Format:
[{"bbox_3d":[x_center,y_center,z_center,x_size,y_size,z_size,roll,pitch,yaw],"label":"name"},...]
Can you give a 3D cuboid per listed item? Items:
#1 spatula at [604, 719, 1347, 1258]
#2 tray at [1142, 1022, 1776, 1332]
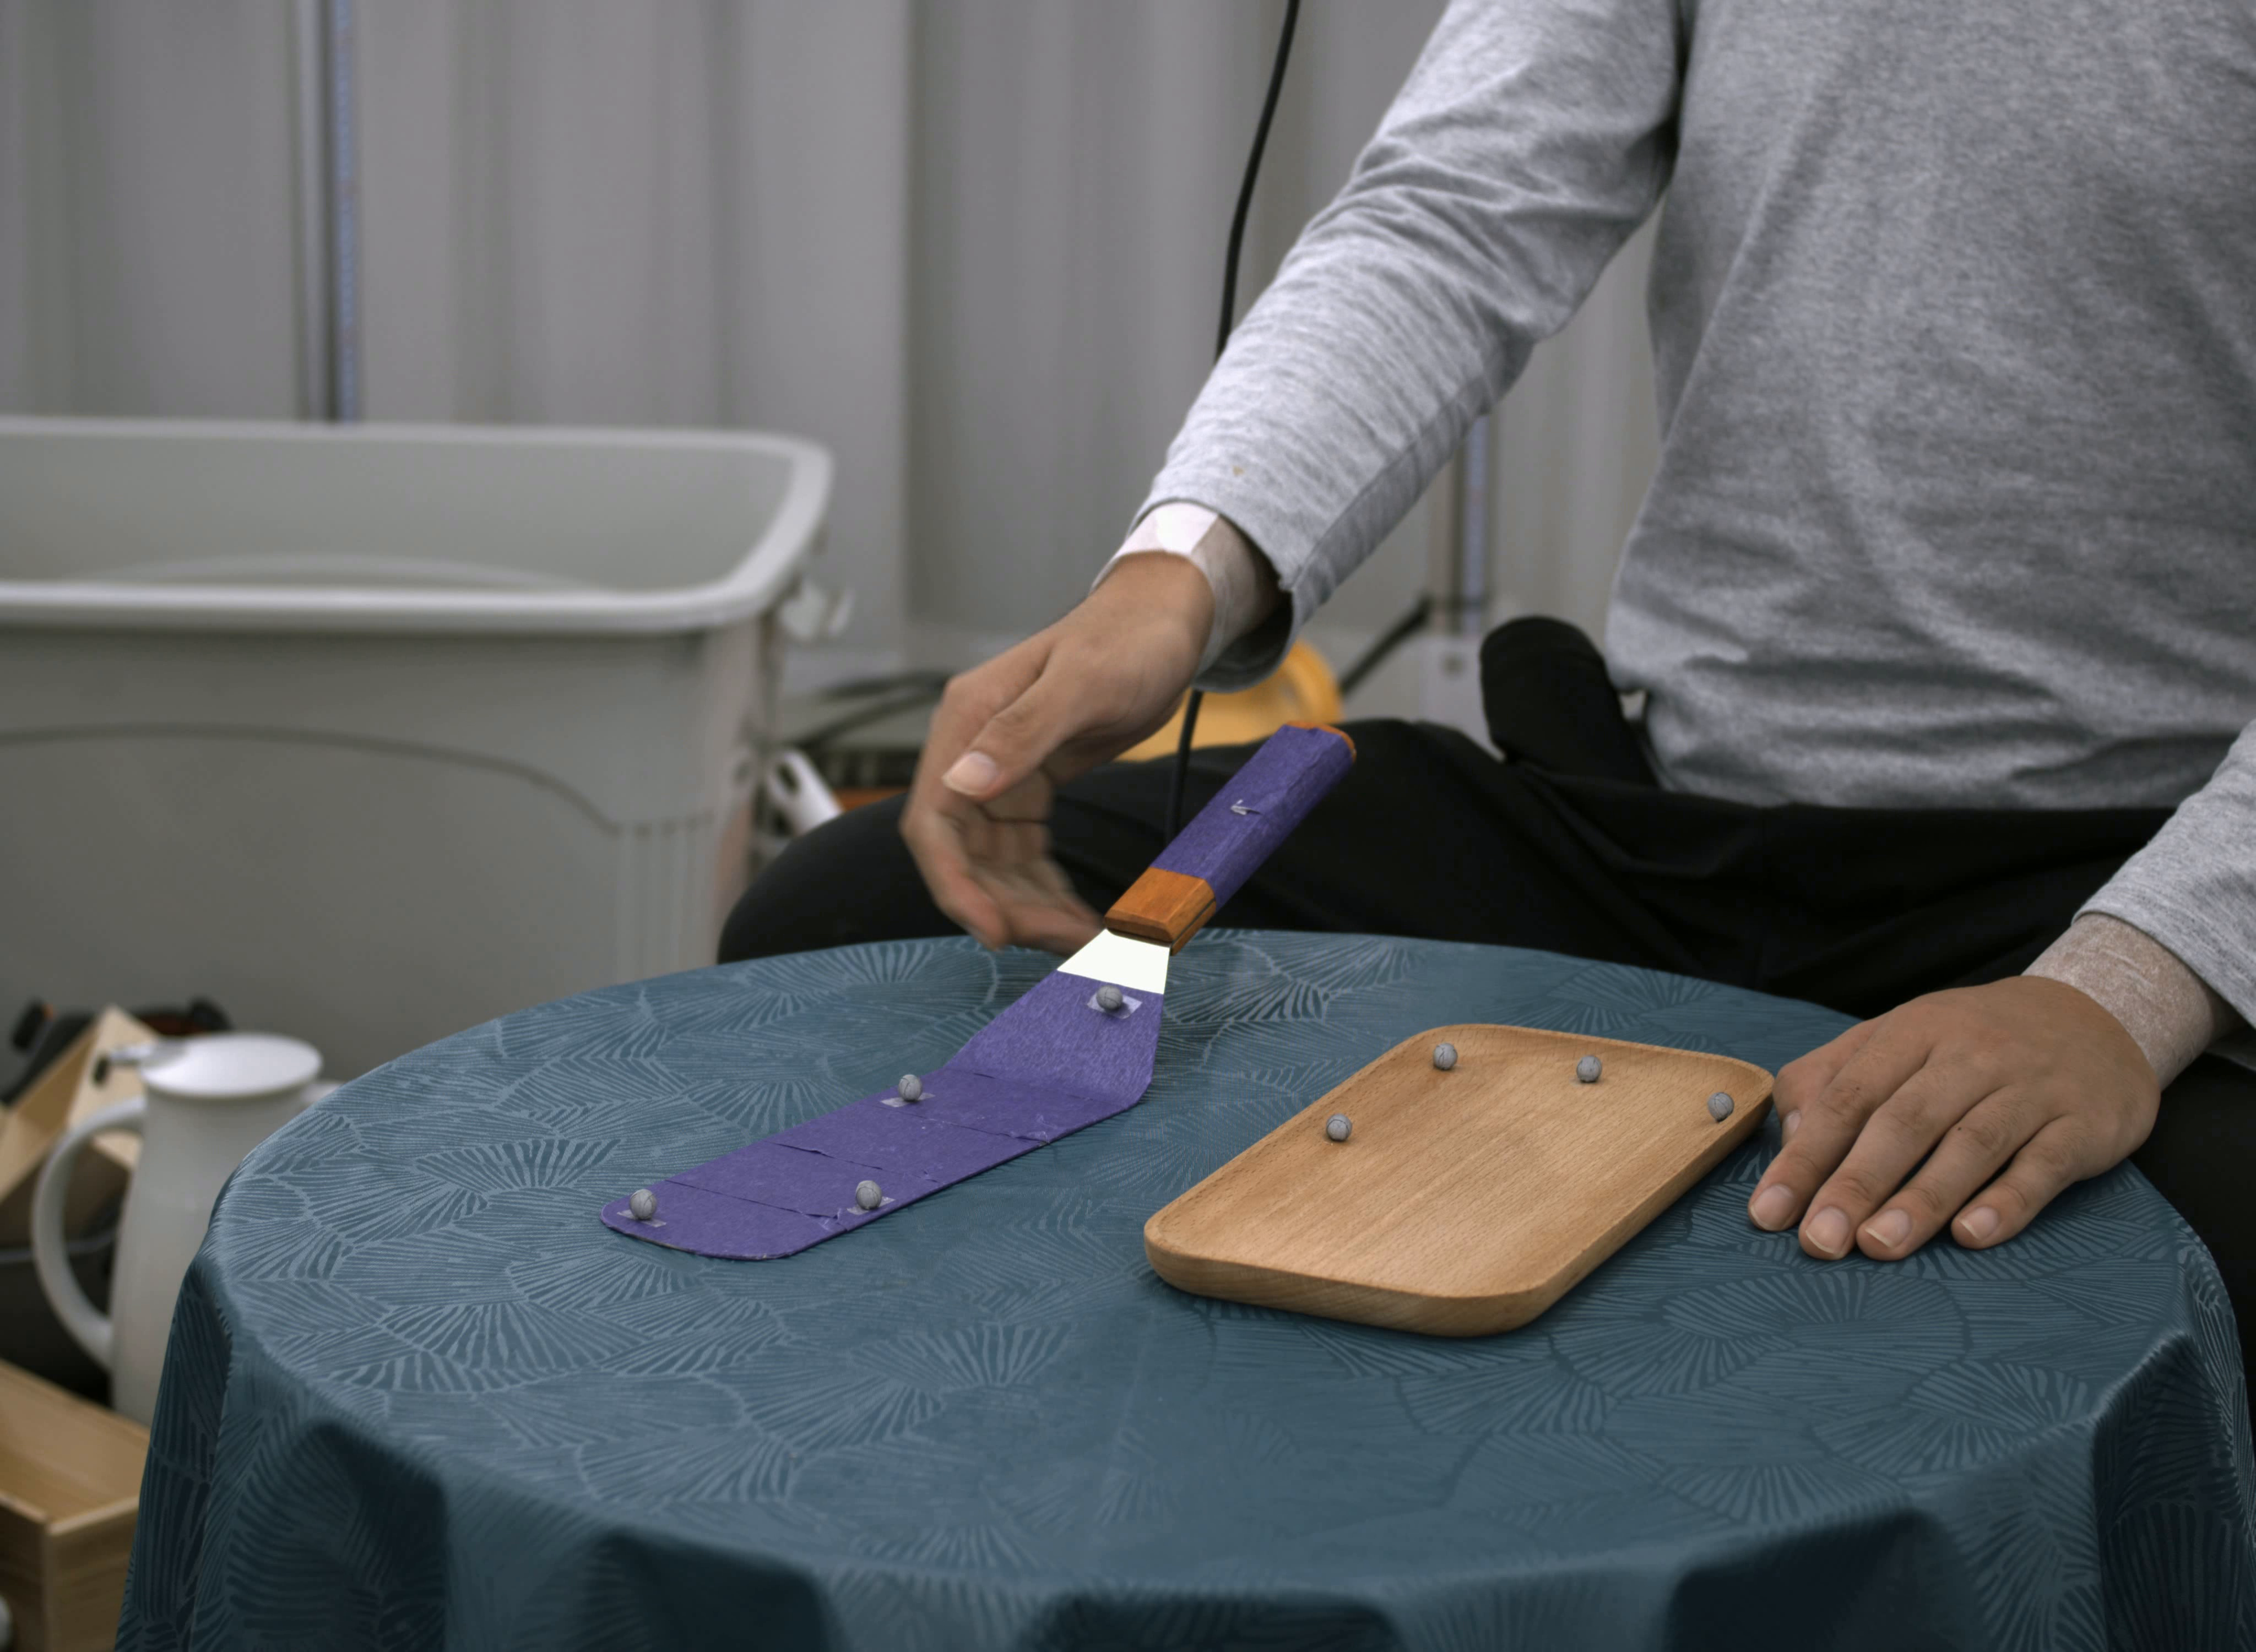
[{"bbox_3d":[-0.034,0.049,1.703,0.074,0.088,0.358,13,45,32],"label":"spatula"},{"bbox_3d":[0.106,0.105,1.623,0.129,0.023,0.251,5,16,26],"label":"tray"}]
